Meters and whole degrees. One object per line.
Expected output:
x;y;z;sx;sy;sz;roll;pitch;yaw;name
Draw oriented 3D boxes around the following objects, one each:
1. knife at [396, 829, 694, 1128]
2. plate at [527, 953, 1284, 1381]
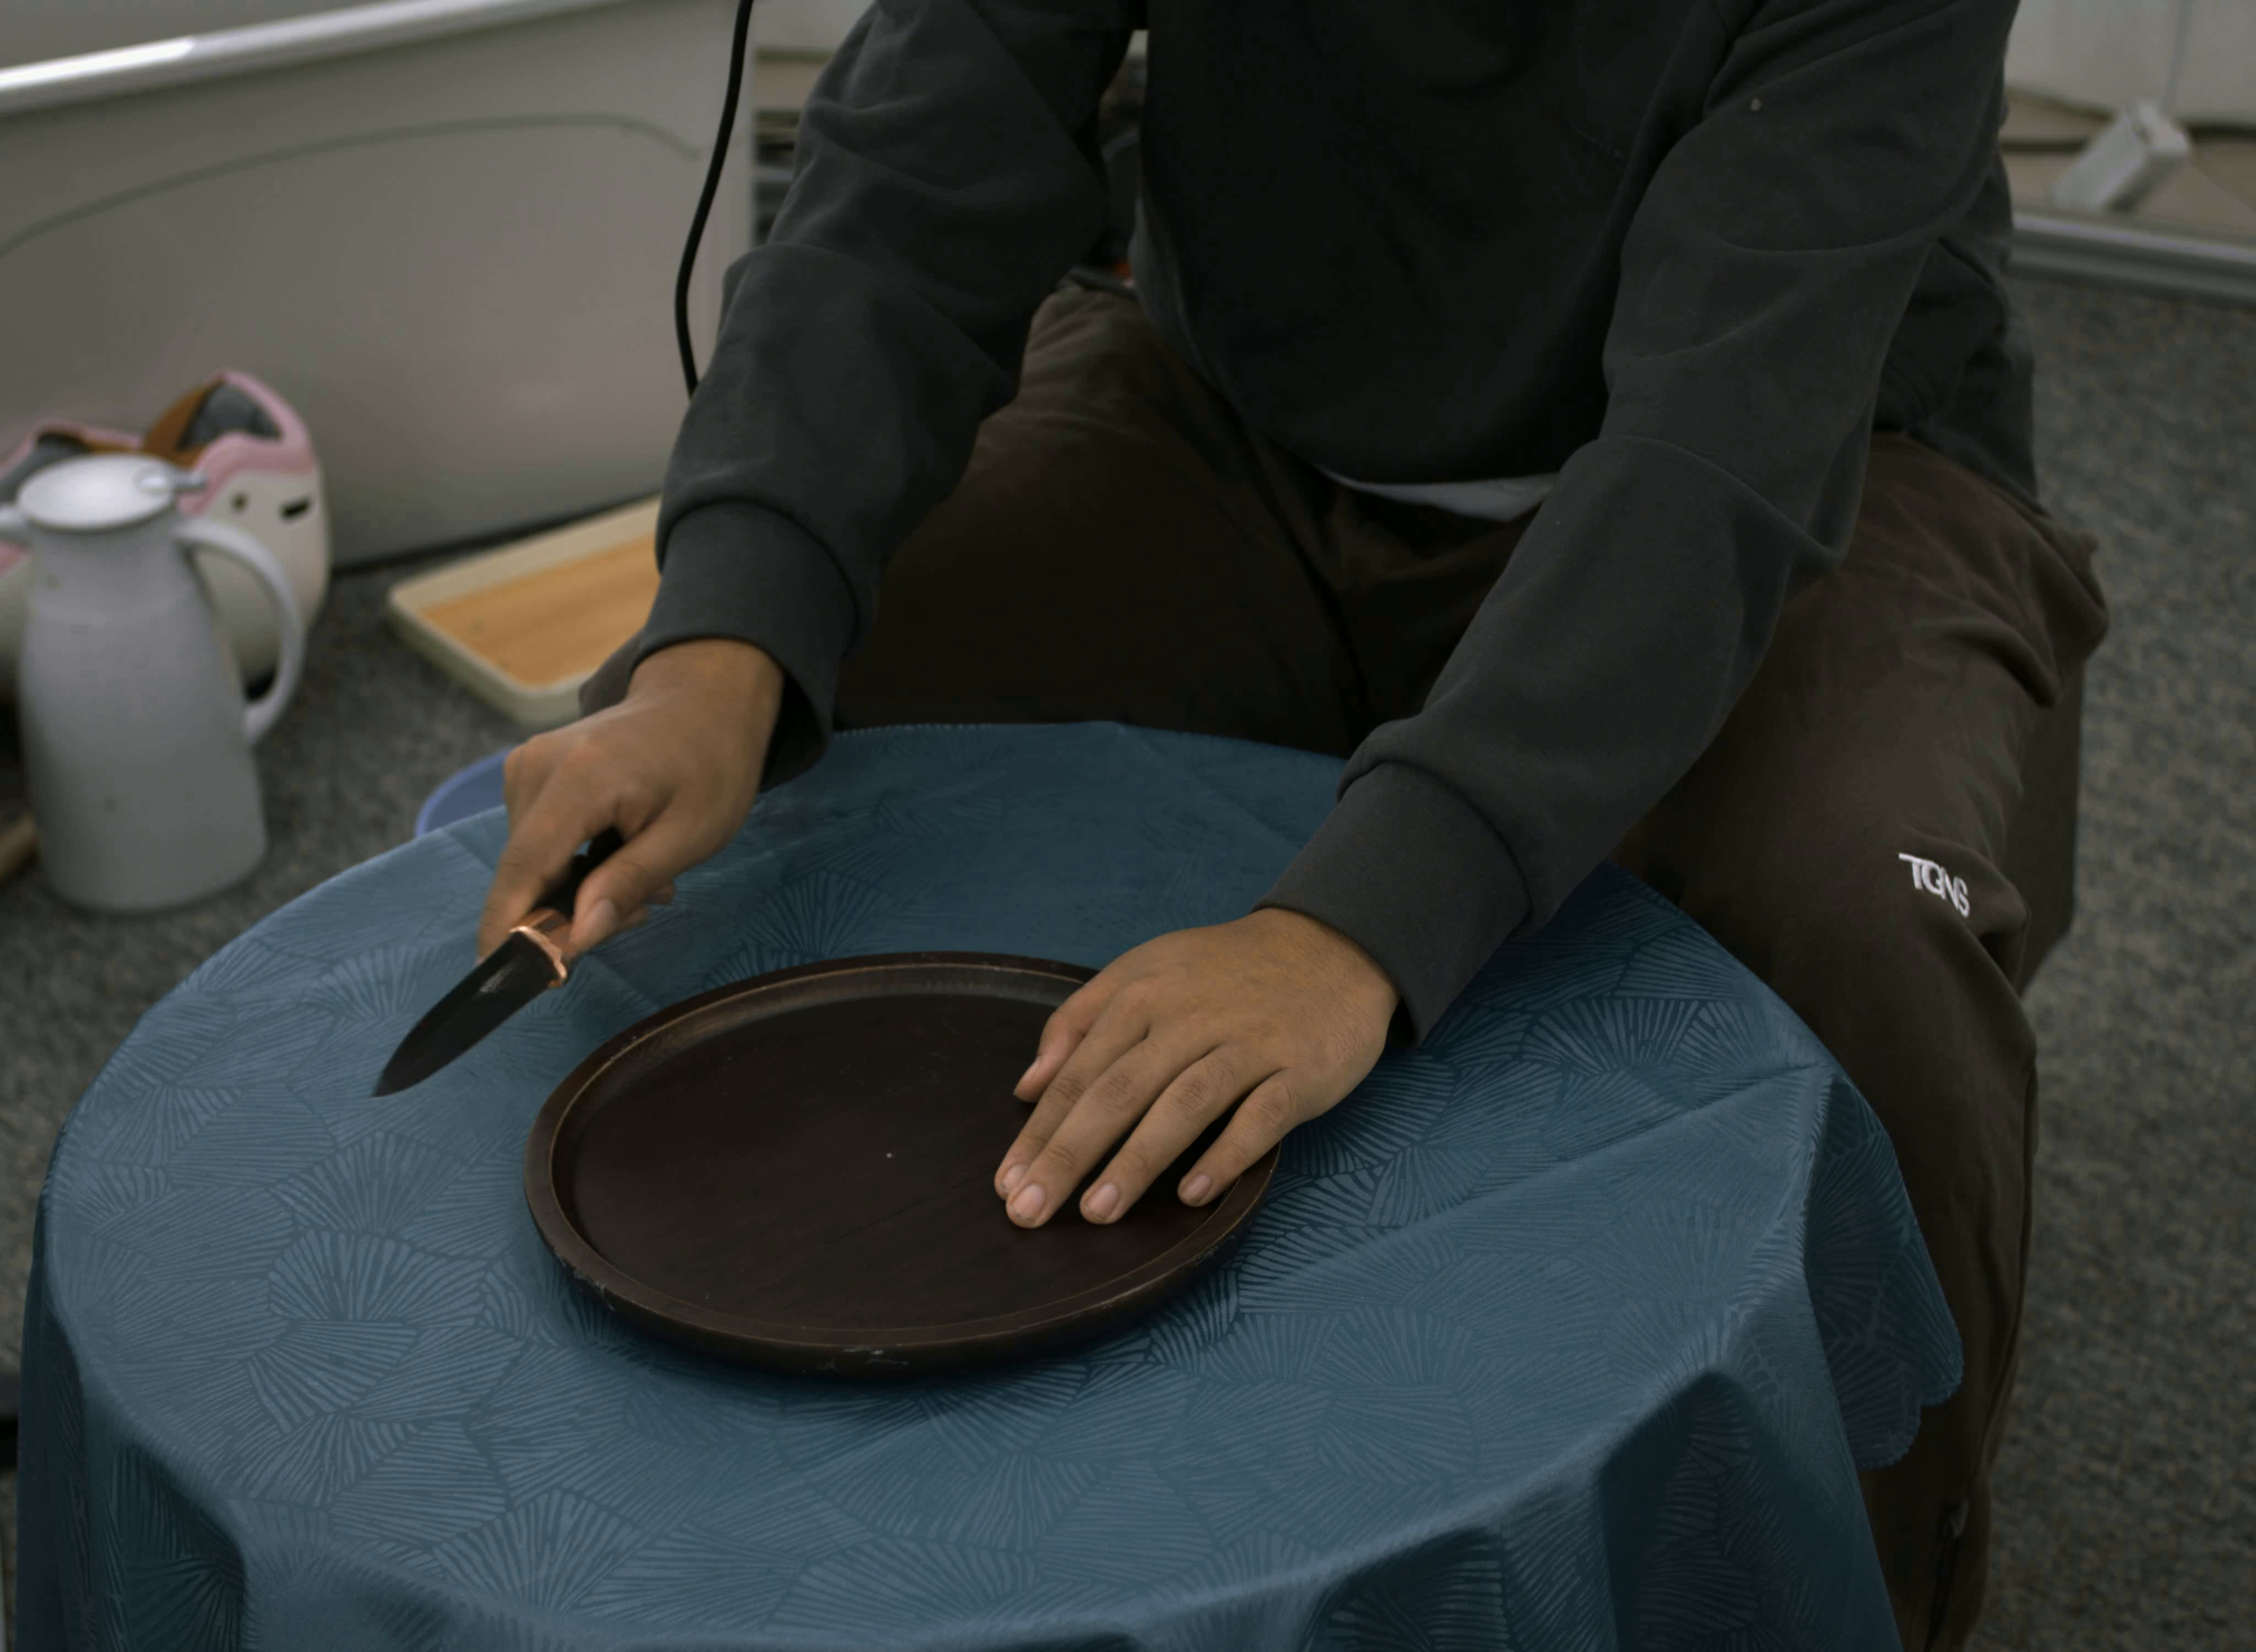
-0.202;0.051;1.934;0.017;0.026;0.229;-36;5;30;knife
-0.073;0.112;1.866;0.253;0.029;0.258;-3;26;2;plate
